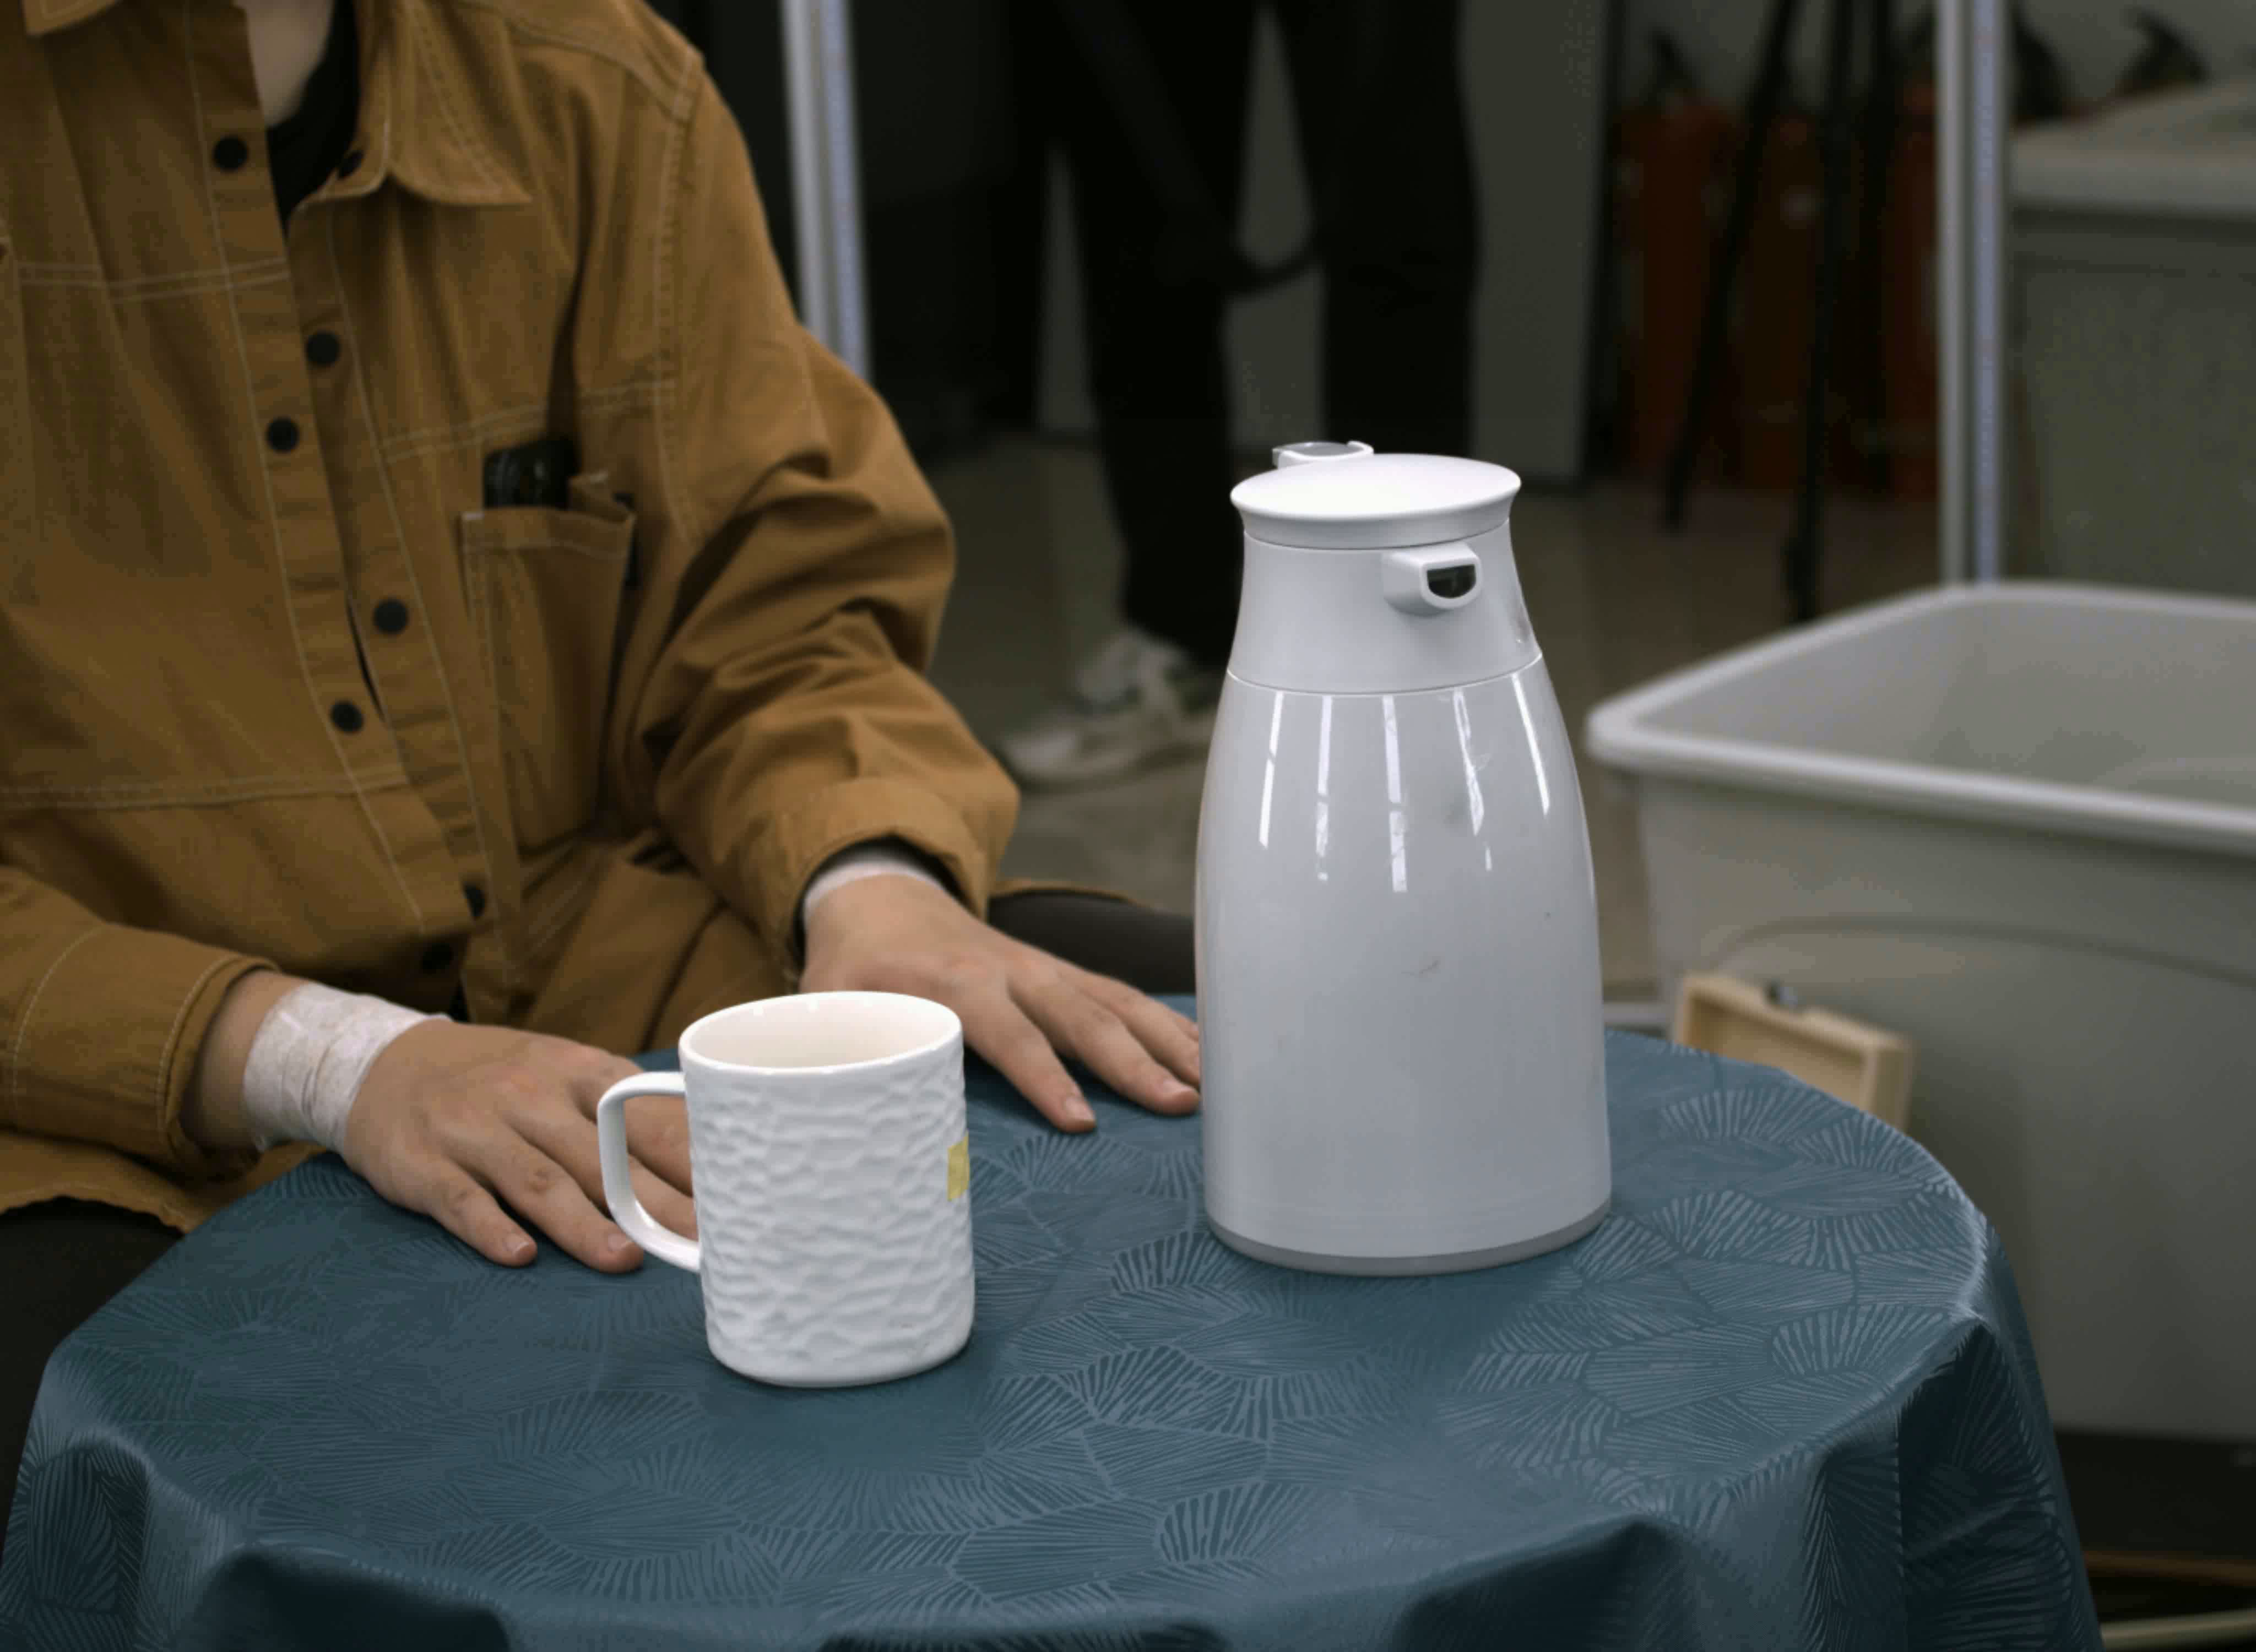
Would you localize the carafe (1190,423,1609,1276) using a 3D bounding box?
[{"bbox_3d":[0.074,-0.001,1.723,0.130,0.251,0.169,-9,14,-18],"label":"carafe"}]

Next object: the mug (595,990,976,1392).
[{"bbox_3d":[-0.105,0.110,1.639,0.118,0.103,0.084,0,13,19],"label":"mug"}]
